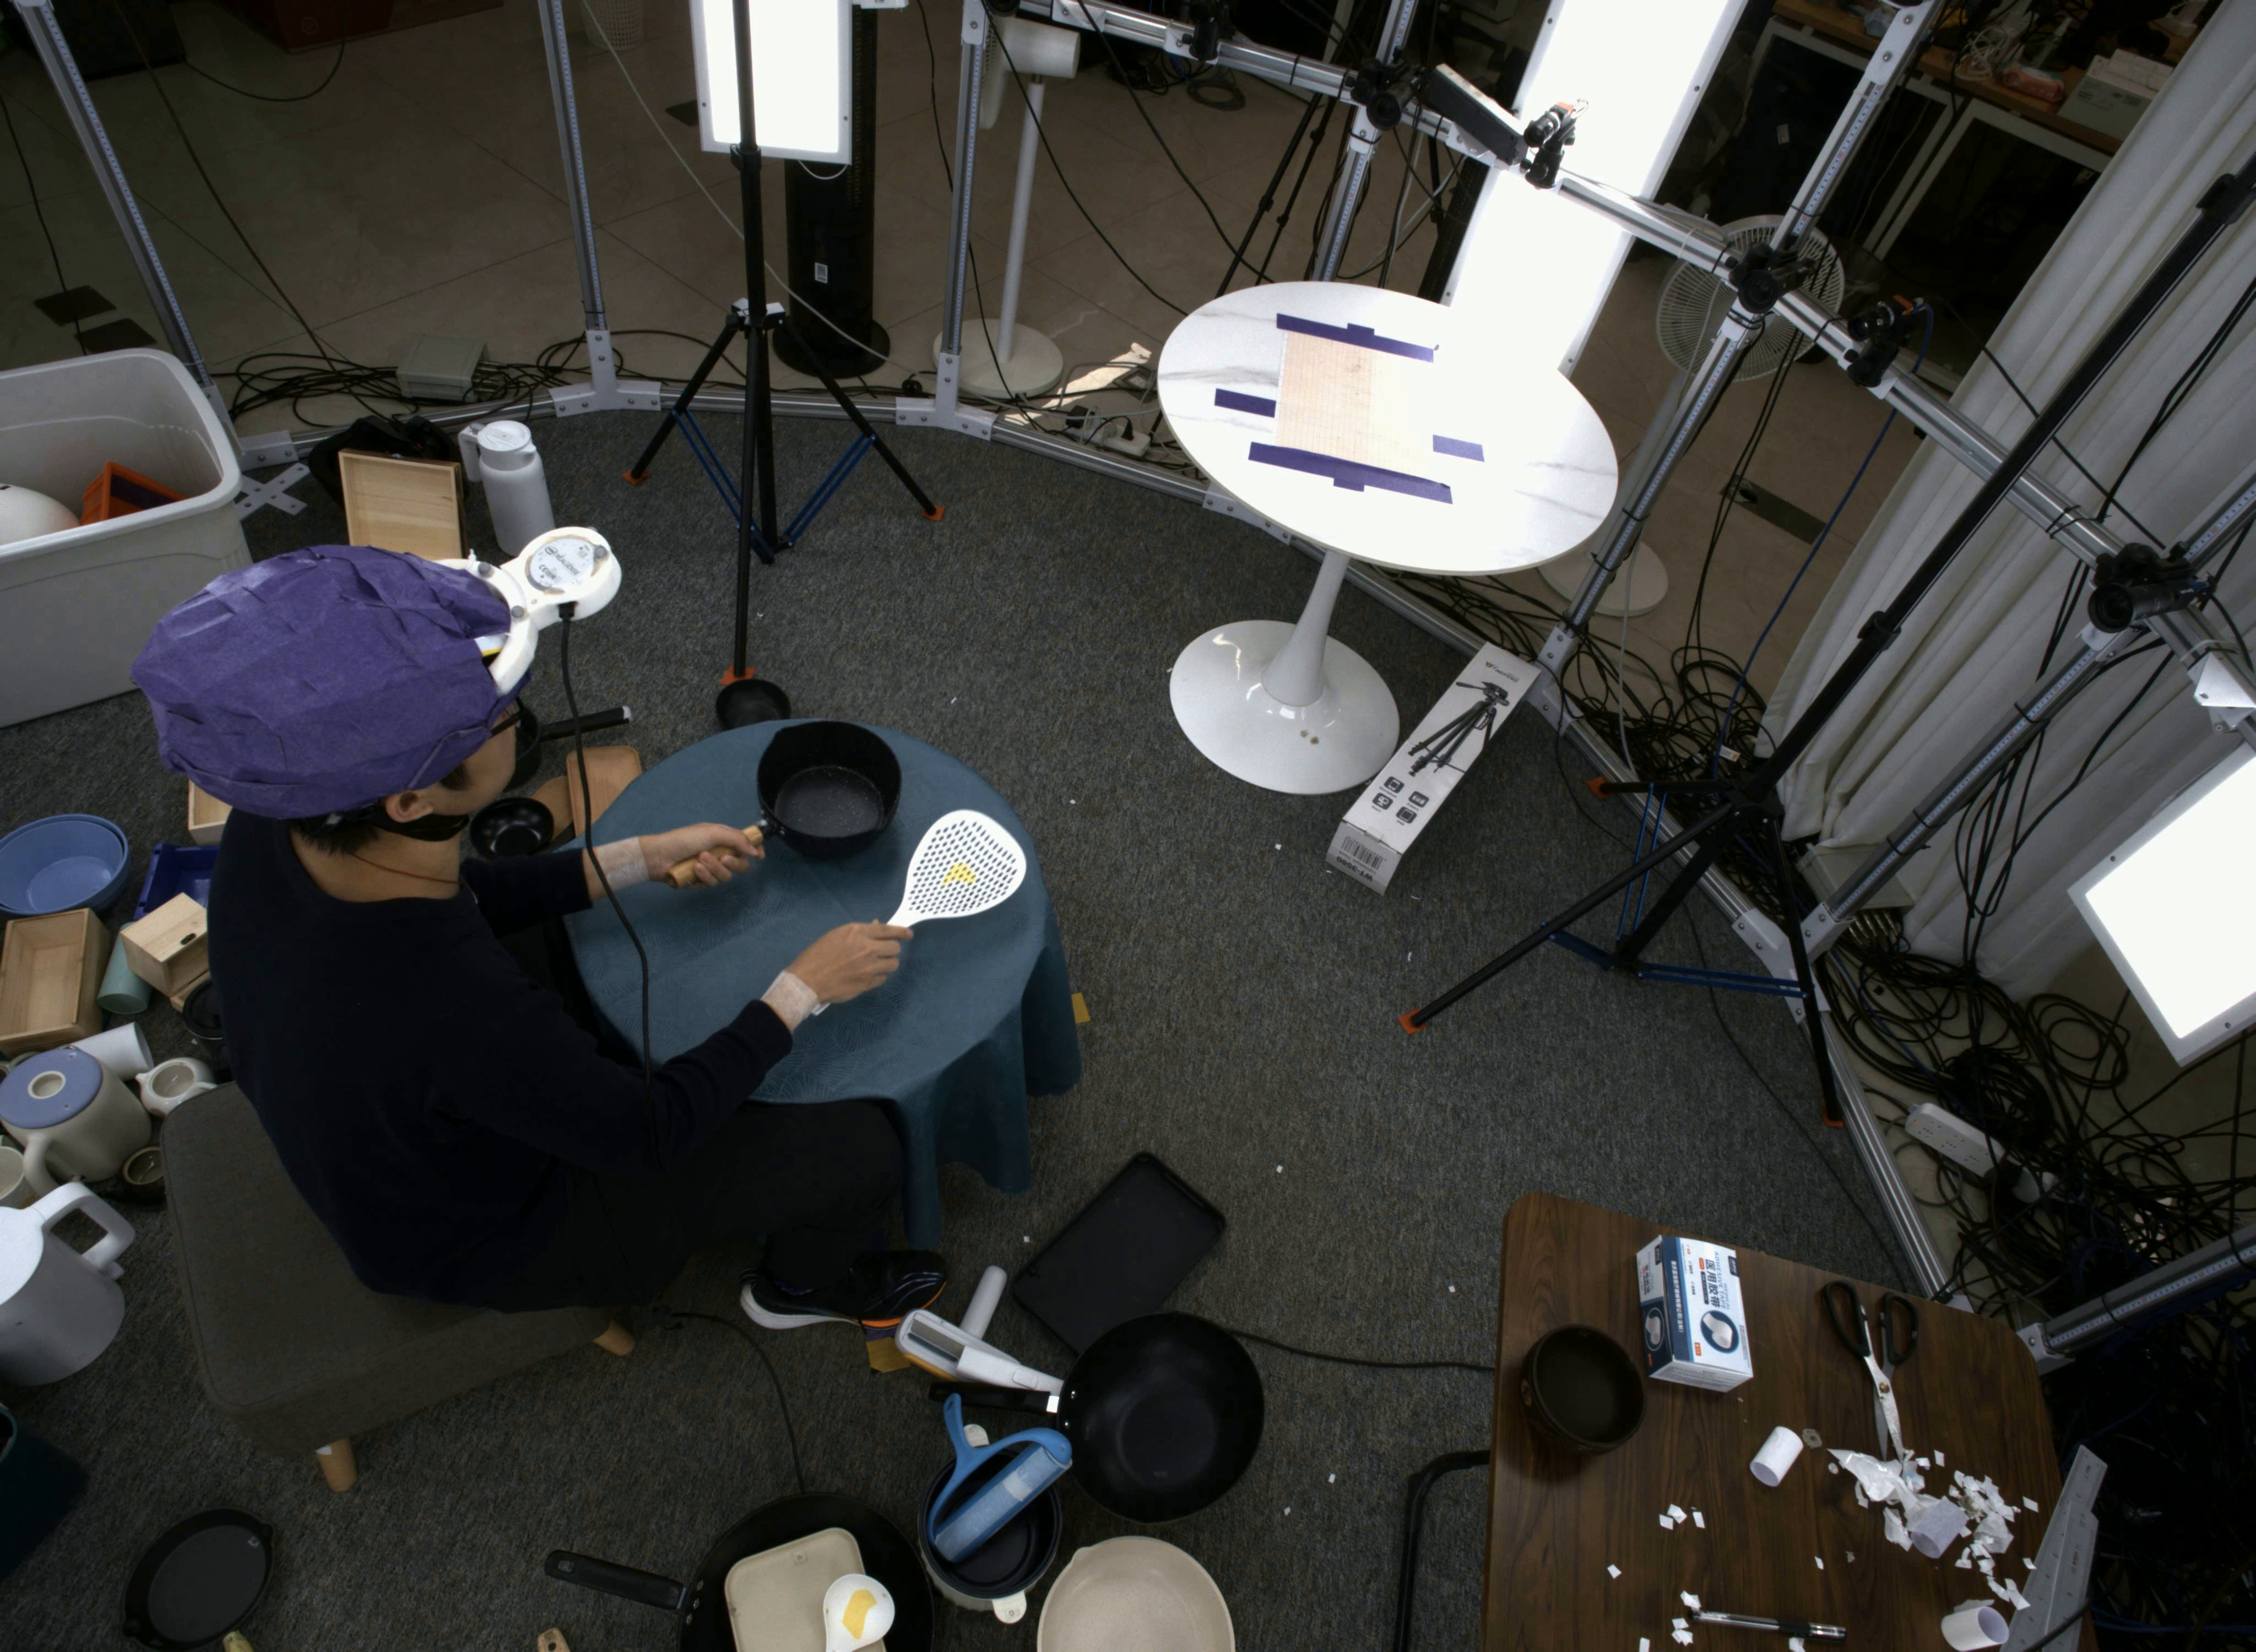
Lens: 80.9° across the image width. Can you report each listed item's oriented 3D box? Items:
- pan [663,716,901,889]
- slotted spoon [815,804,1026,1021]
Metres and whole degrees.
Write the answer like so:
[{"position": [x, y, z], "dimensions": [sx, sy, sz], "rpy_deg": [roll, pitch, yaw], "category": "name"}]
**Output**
[{"position": [-0.440, -0.003, 1.640], "dimensions": [0.205, 0.109, 0.343], "rpy_deg": [41, 56, 10], "category": "pan"}, {"position": [-0.263, 0.105, 1.591], "dimensions": [0.136, 0.050, 0.347], "rpy_deg": [43, 51, 1], "category": "slotted spoon"}]
